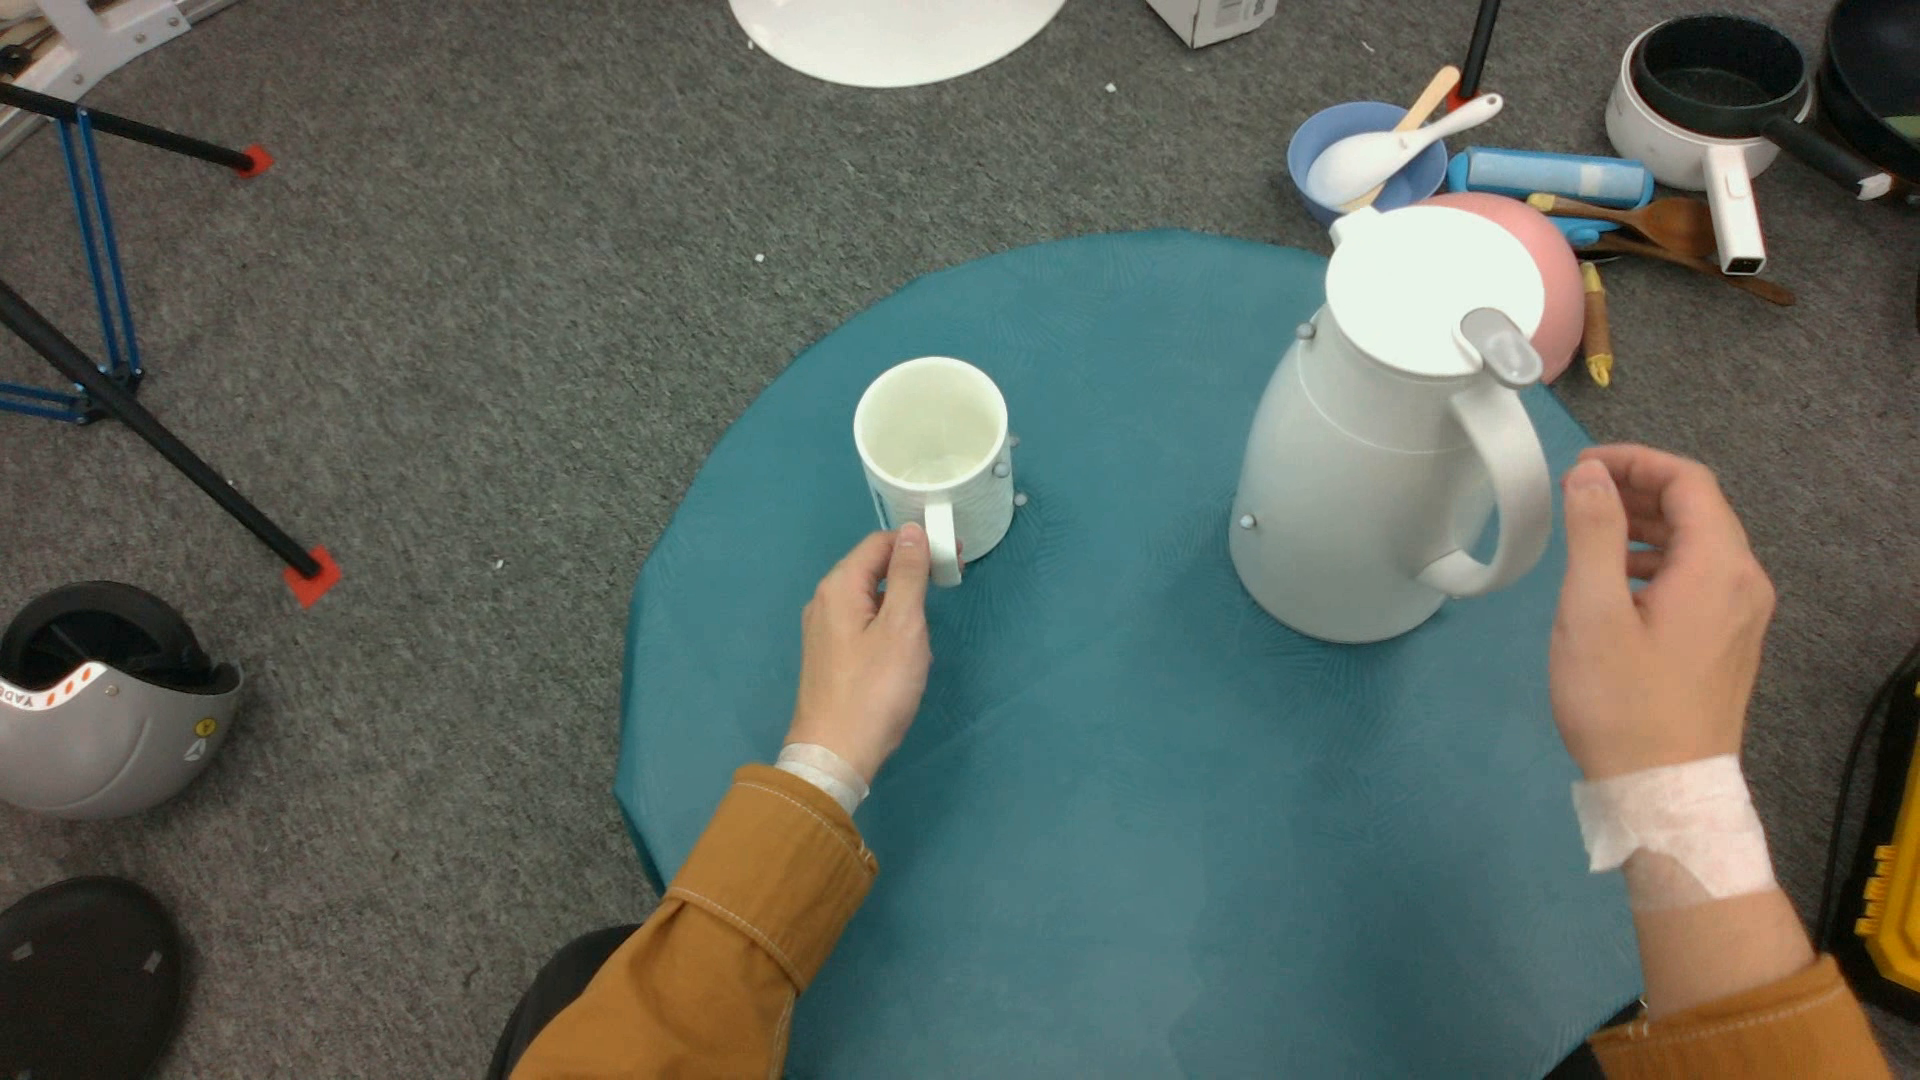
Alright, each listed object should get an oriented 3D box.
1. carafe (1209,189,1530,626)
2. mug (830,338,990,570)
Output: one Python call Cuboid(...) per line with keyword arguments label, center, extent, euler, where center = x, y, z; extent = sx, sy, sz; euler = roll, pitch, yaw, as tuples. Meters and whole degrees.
Cuboid(label="carafe", center=(0.214, -0.051, 0.696), extent=(0.133, 0.247, 0.168), euler=(-26, 64, -10))
Cuboid(label="mug", center=(-0.024, -0.038, 0.785), extent=(0.085, 0.101, 0.118), euler=(-7, 61, 0))
